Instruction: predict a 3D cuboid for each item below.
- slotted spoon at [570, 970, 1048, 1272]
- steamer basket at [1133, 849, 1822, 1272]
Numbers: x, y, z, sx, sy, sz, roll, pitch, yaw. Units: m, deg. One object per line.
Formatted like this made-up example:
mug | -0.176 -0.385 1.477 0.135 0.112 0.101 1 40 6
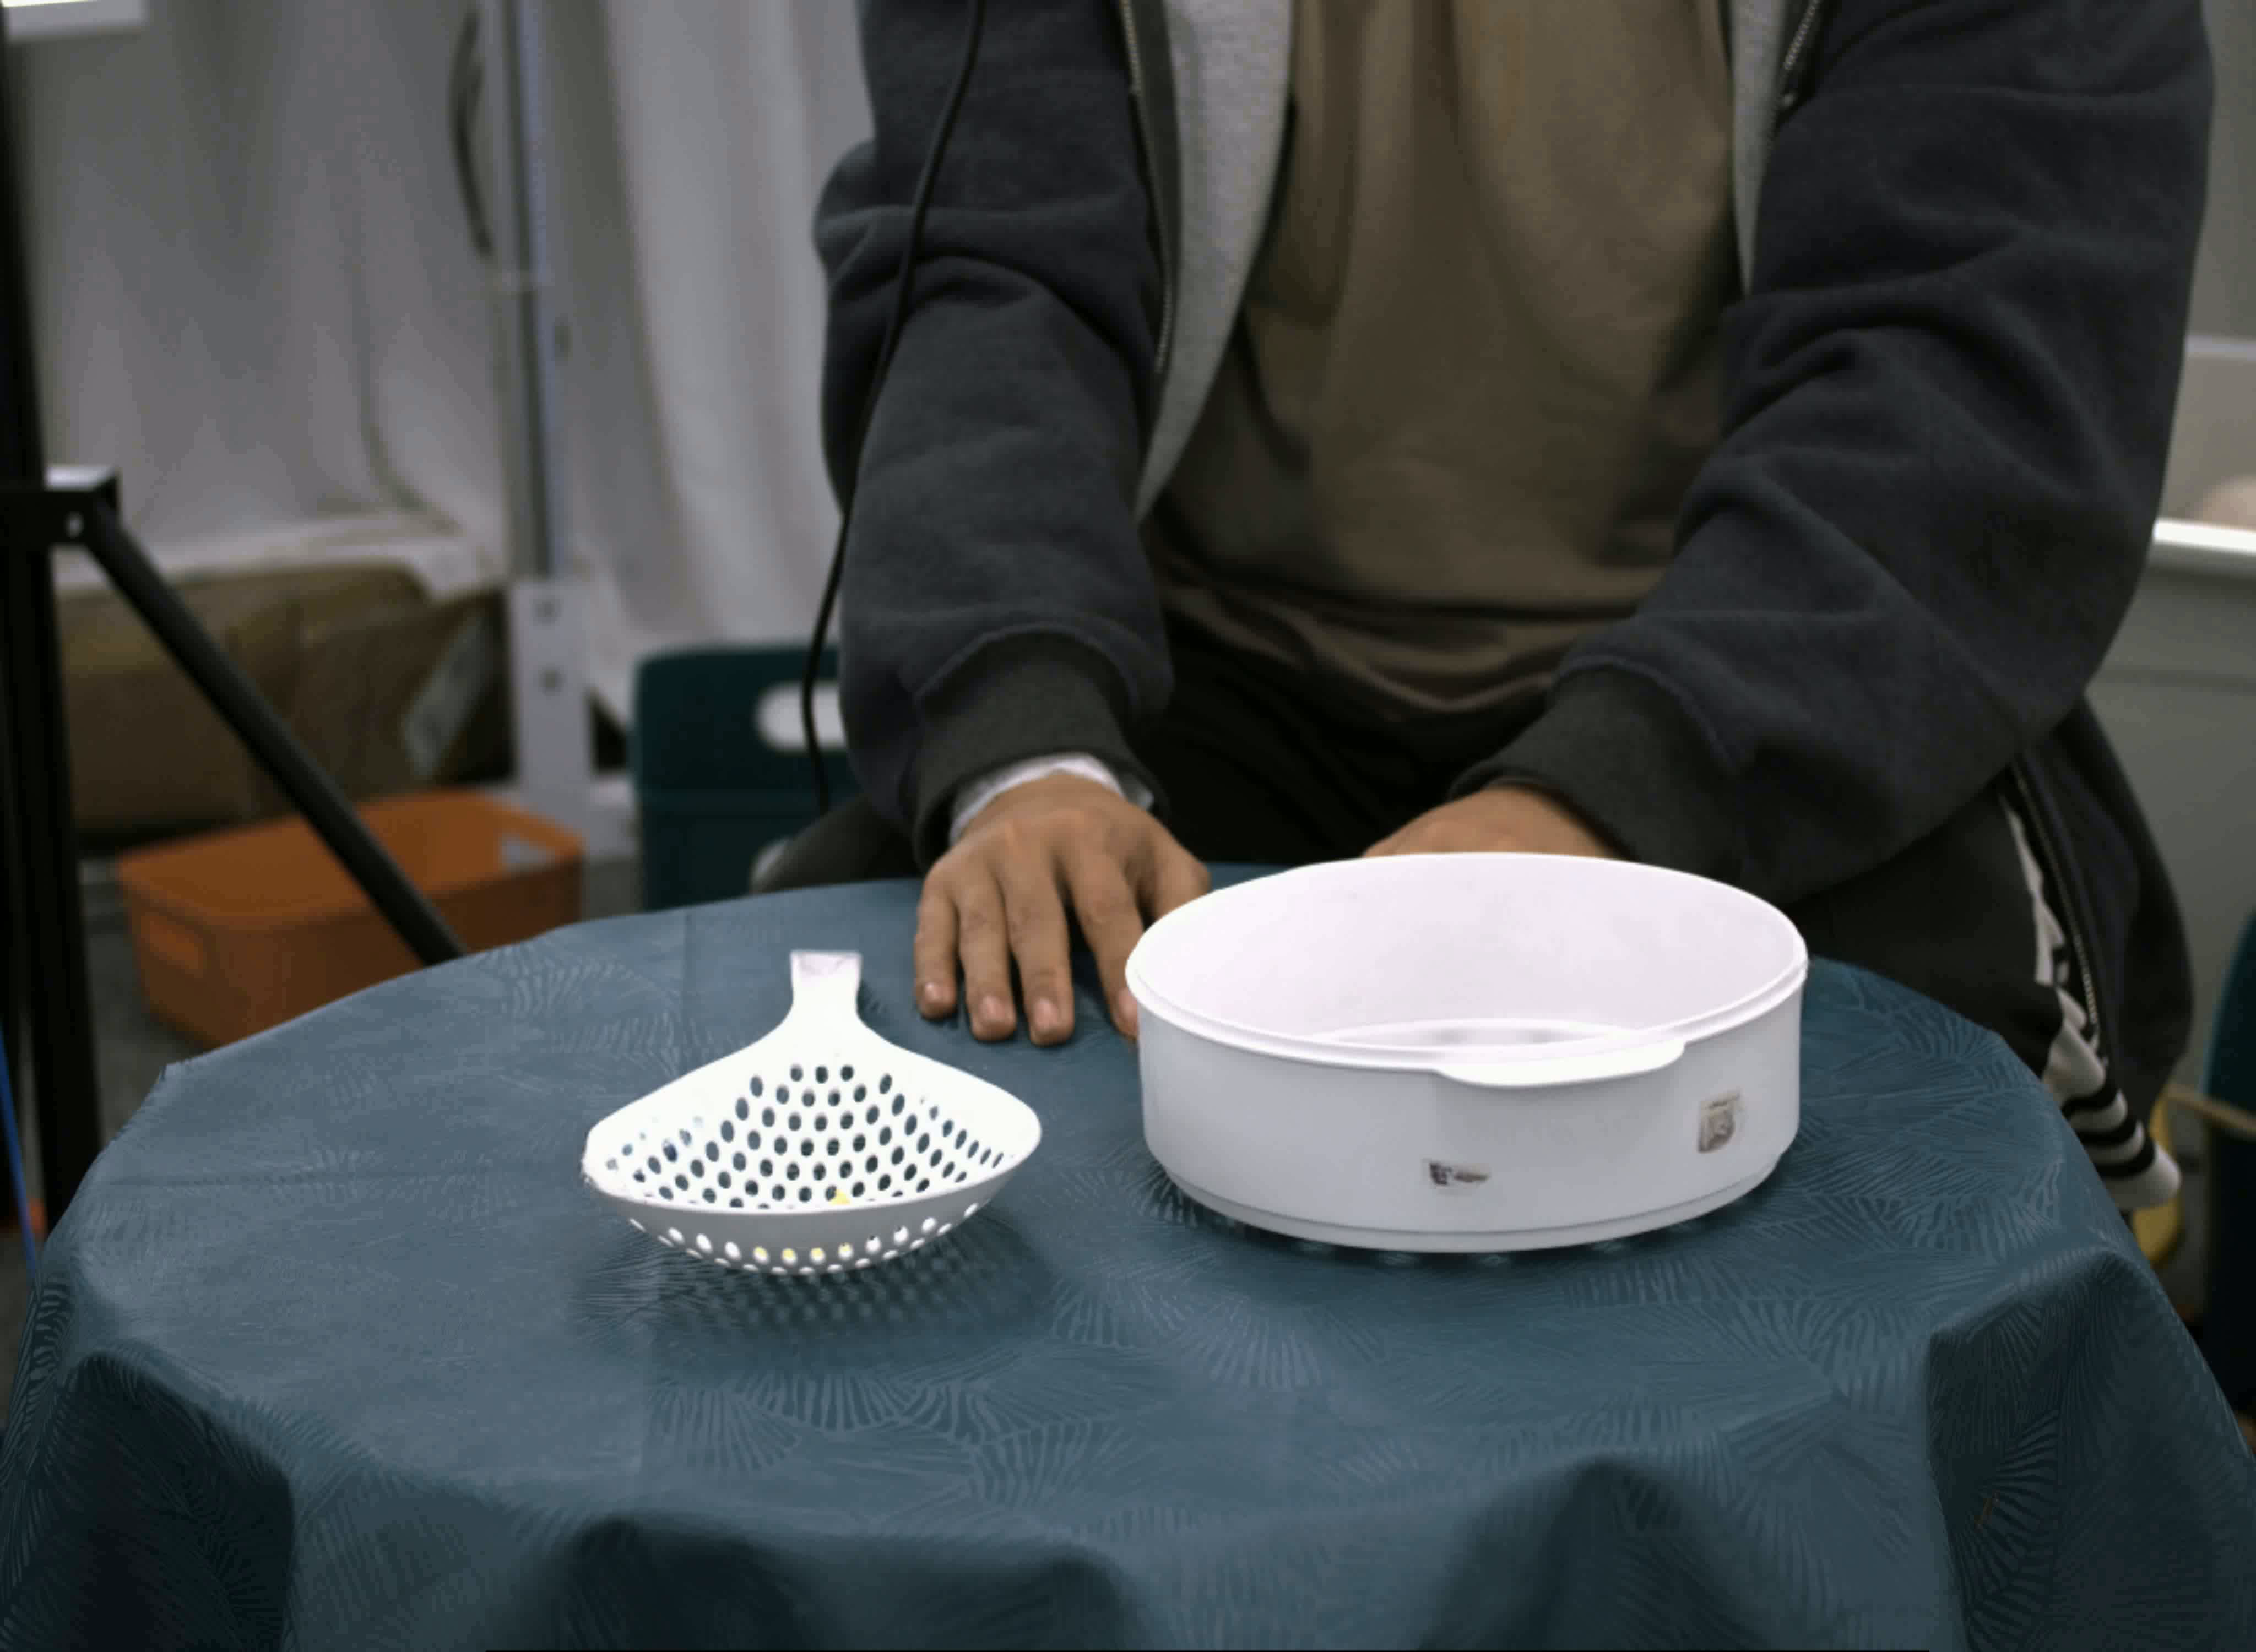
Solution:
slotted spoon | -0.094 0.075 1.619 0.136 0.050 0.350 -6 16 -1
steamer basket | 0.103 0.068 1.558 0.199 0.069 0.233 -5 18 -11
